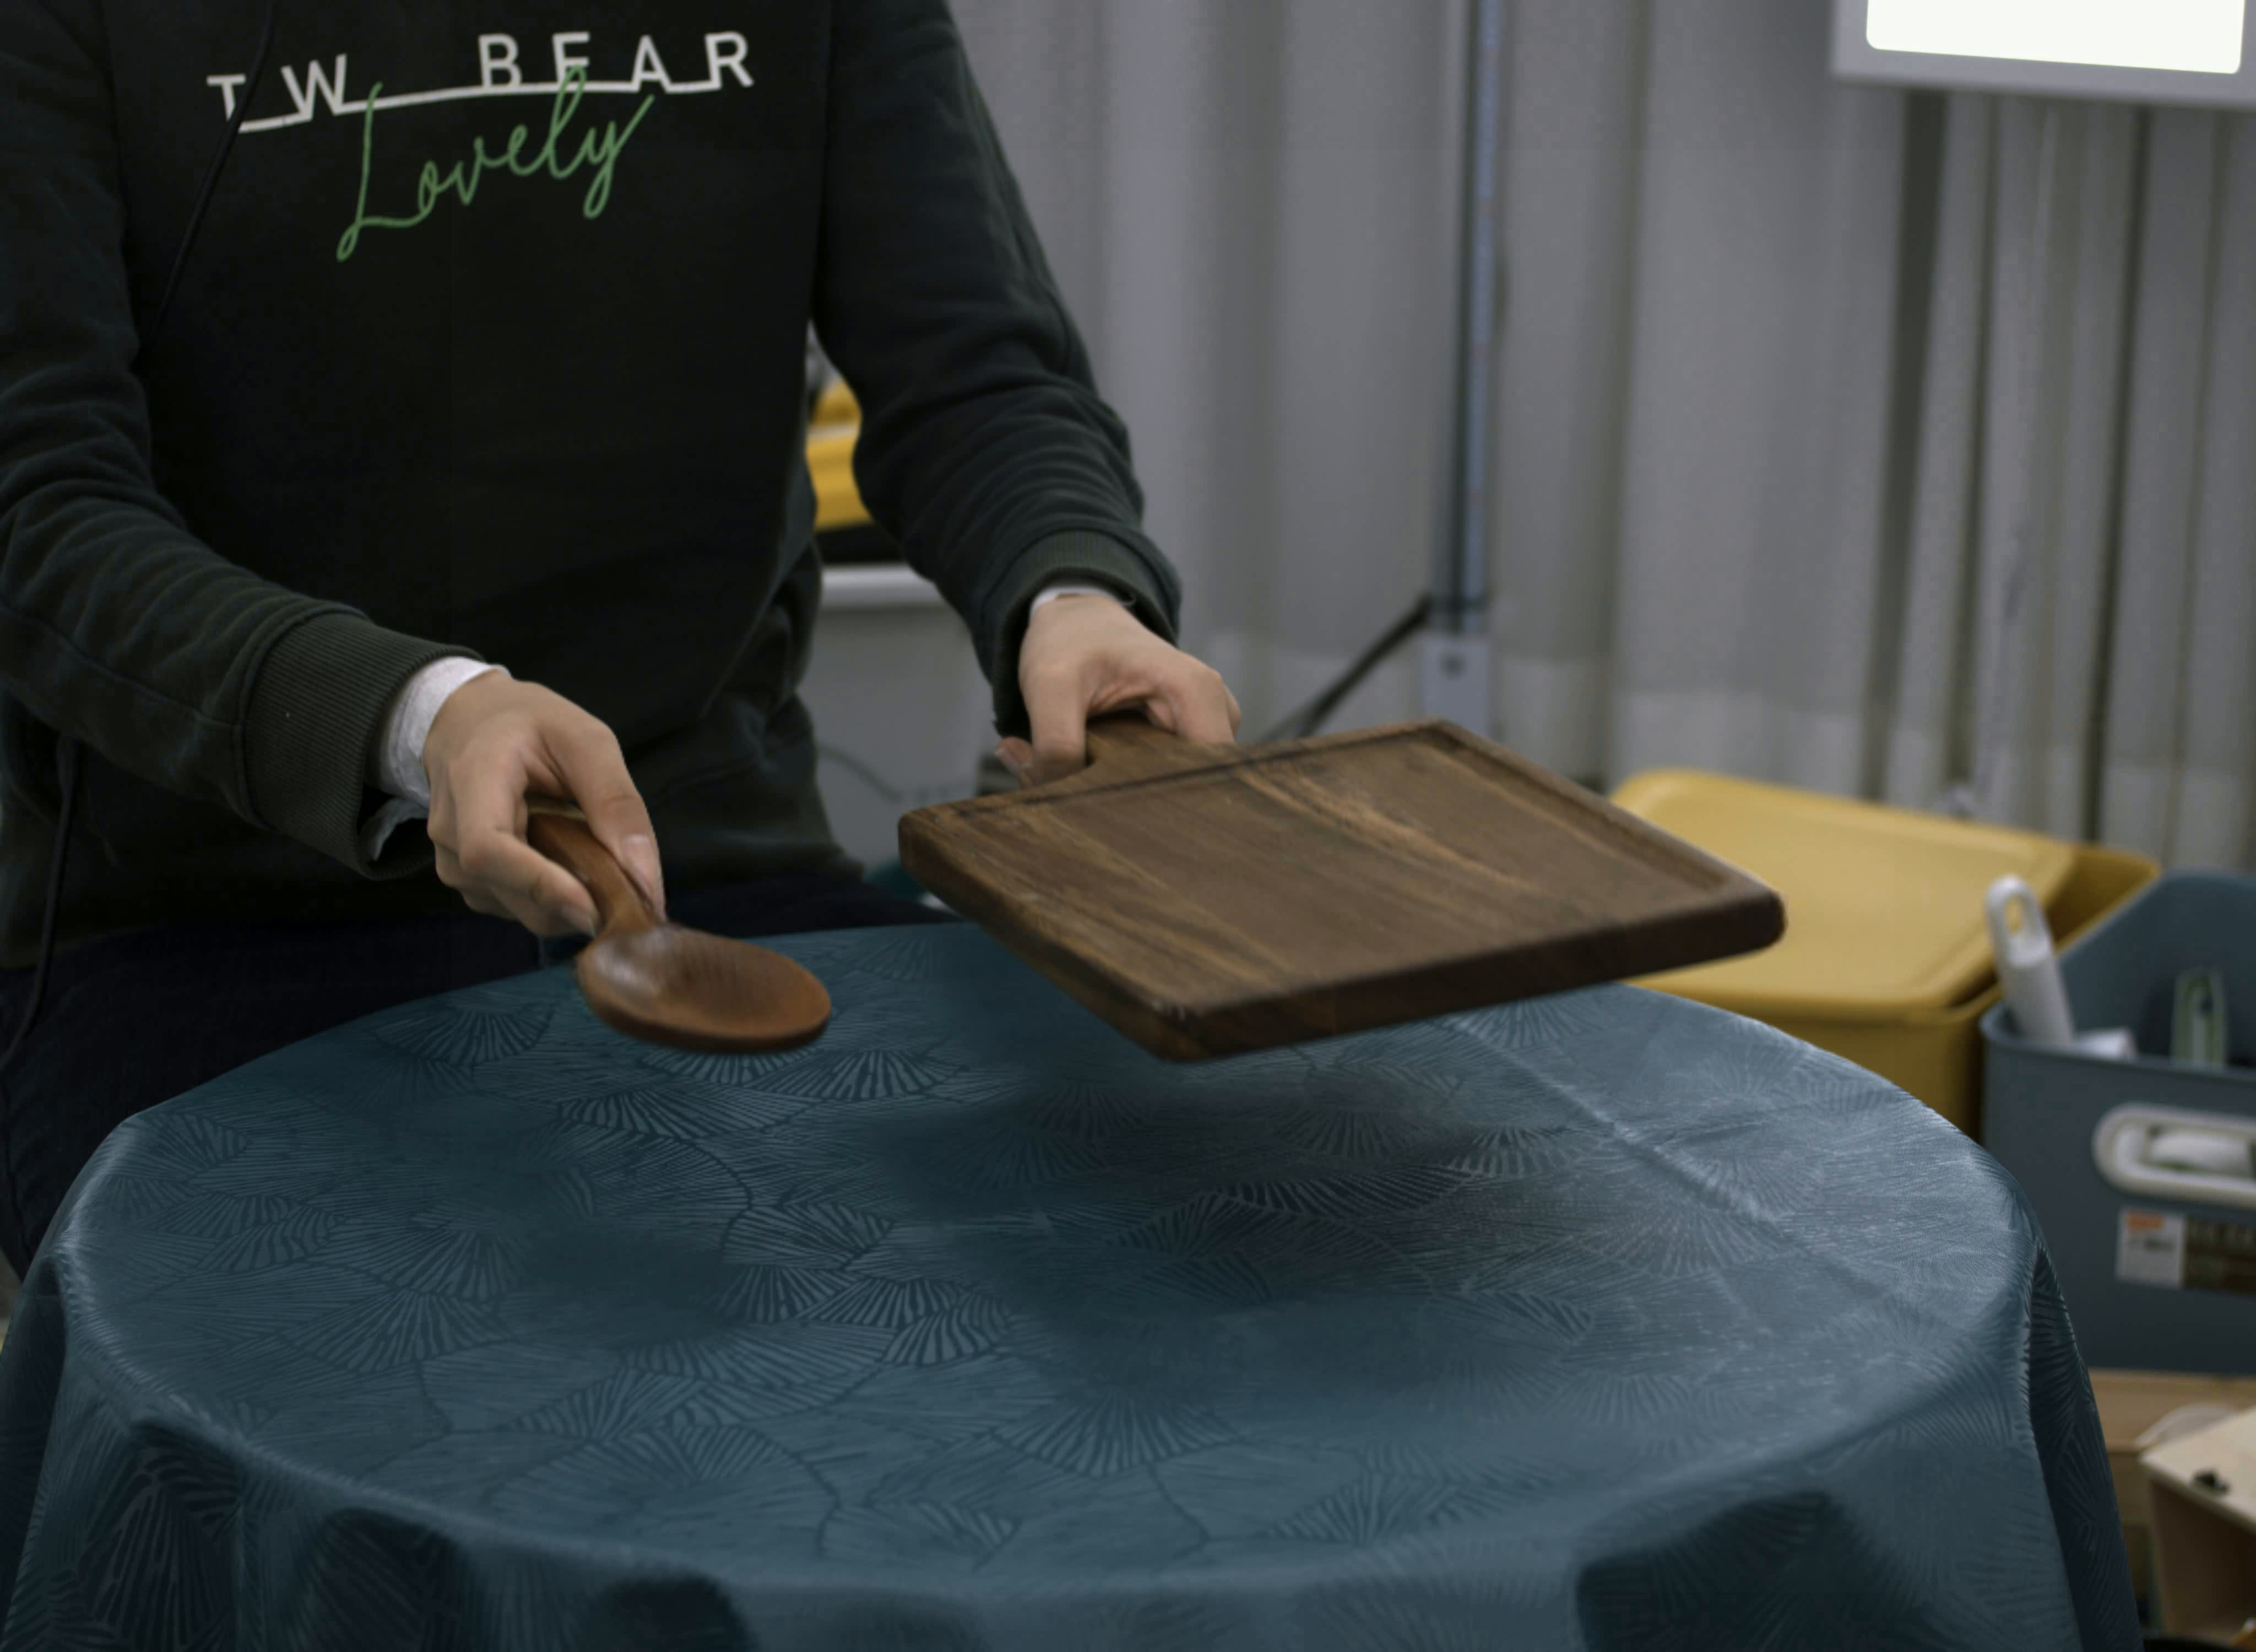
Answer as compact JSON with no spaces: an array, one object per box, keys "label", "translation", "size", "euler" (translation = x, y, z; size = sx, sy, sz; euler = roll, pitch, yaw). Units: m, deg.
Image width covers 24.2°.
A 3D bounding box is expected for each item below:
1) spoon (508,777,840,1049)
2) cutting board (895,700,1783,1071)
[{"label":"spoon","translation":[-0.148,0.028,1.604],"size":[0.076,0.017,0.213],"euler":[-2,21,-24]},{"label":"cutting board","translation":[0.041,0.005,1.663],"size":[0.201,0.023,0.348],"euler":[-12,17,-19]}]
